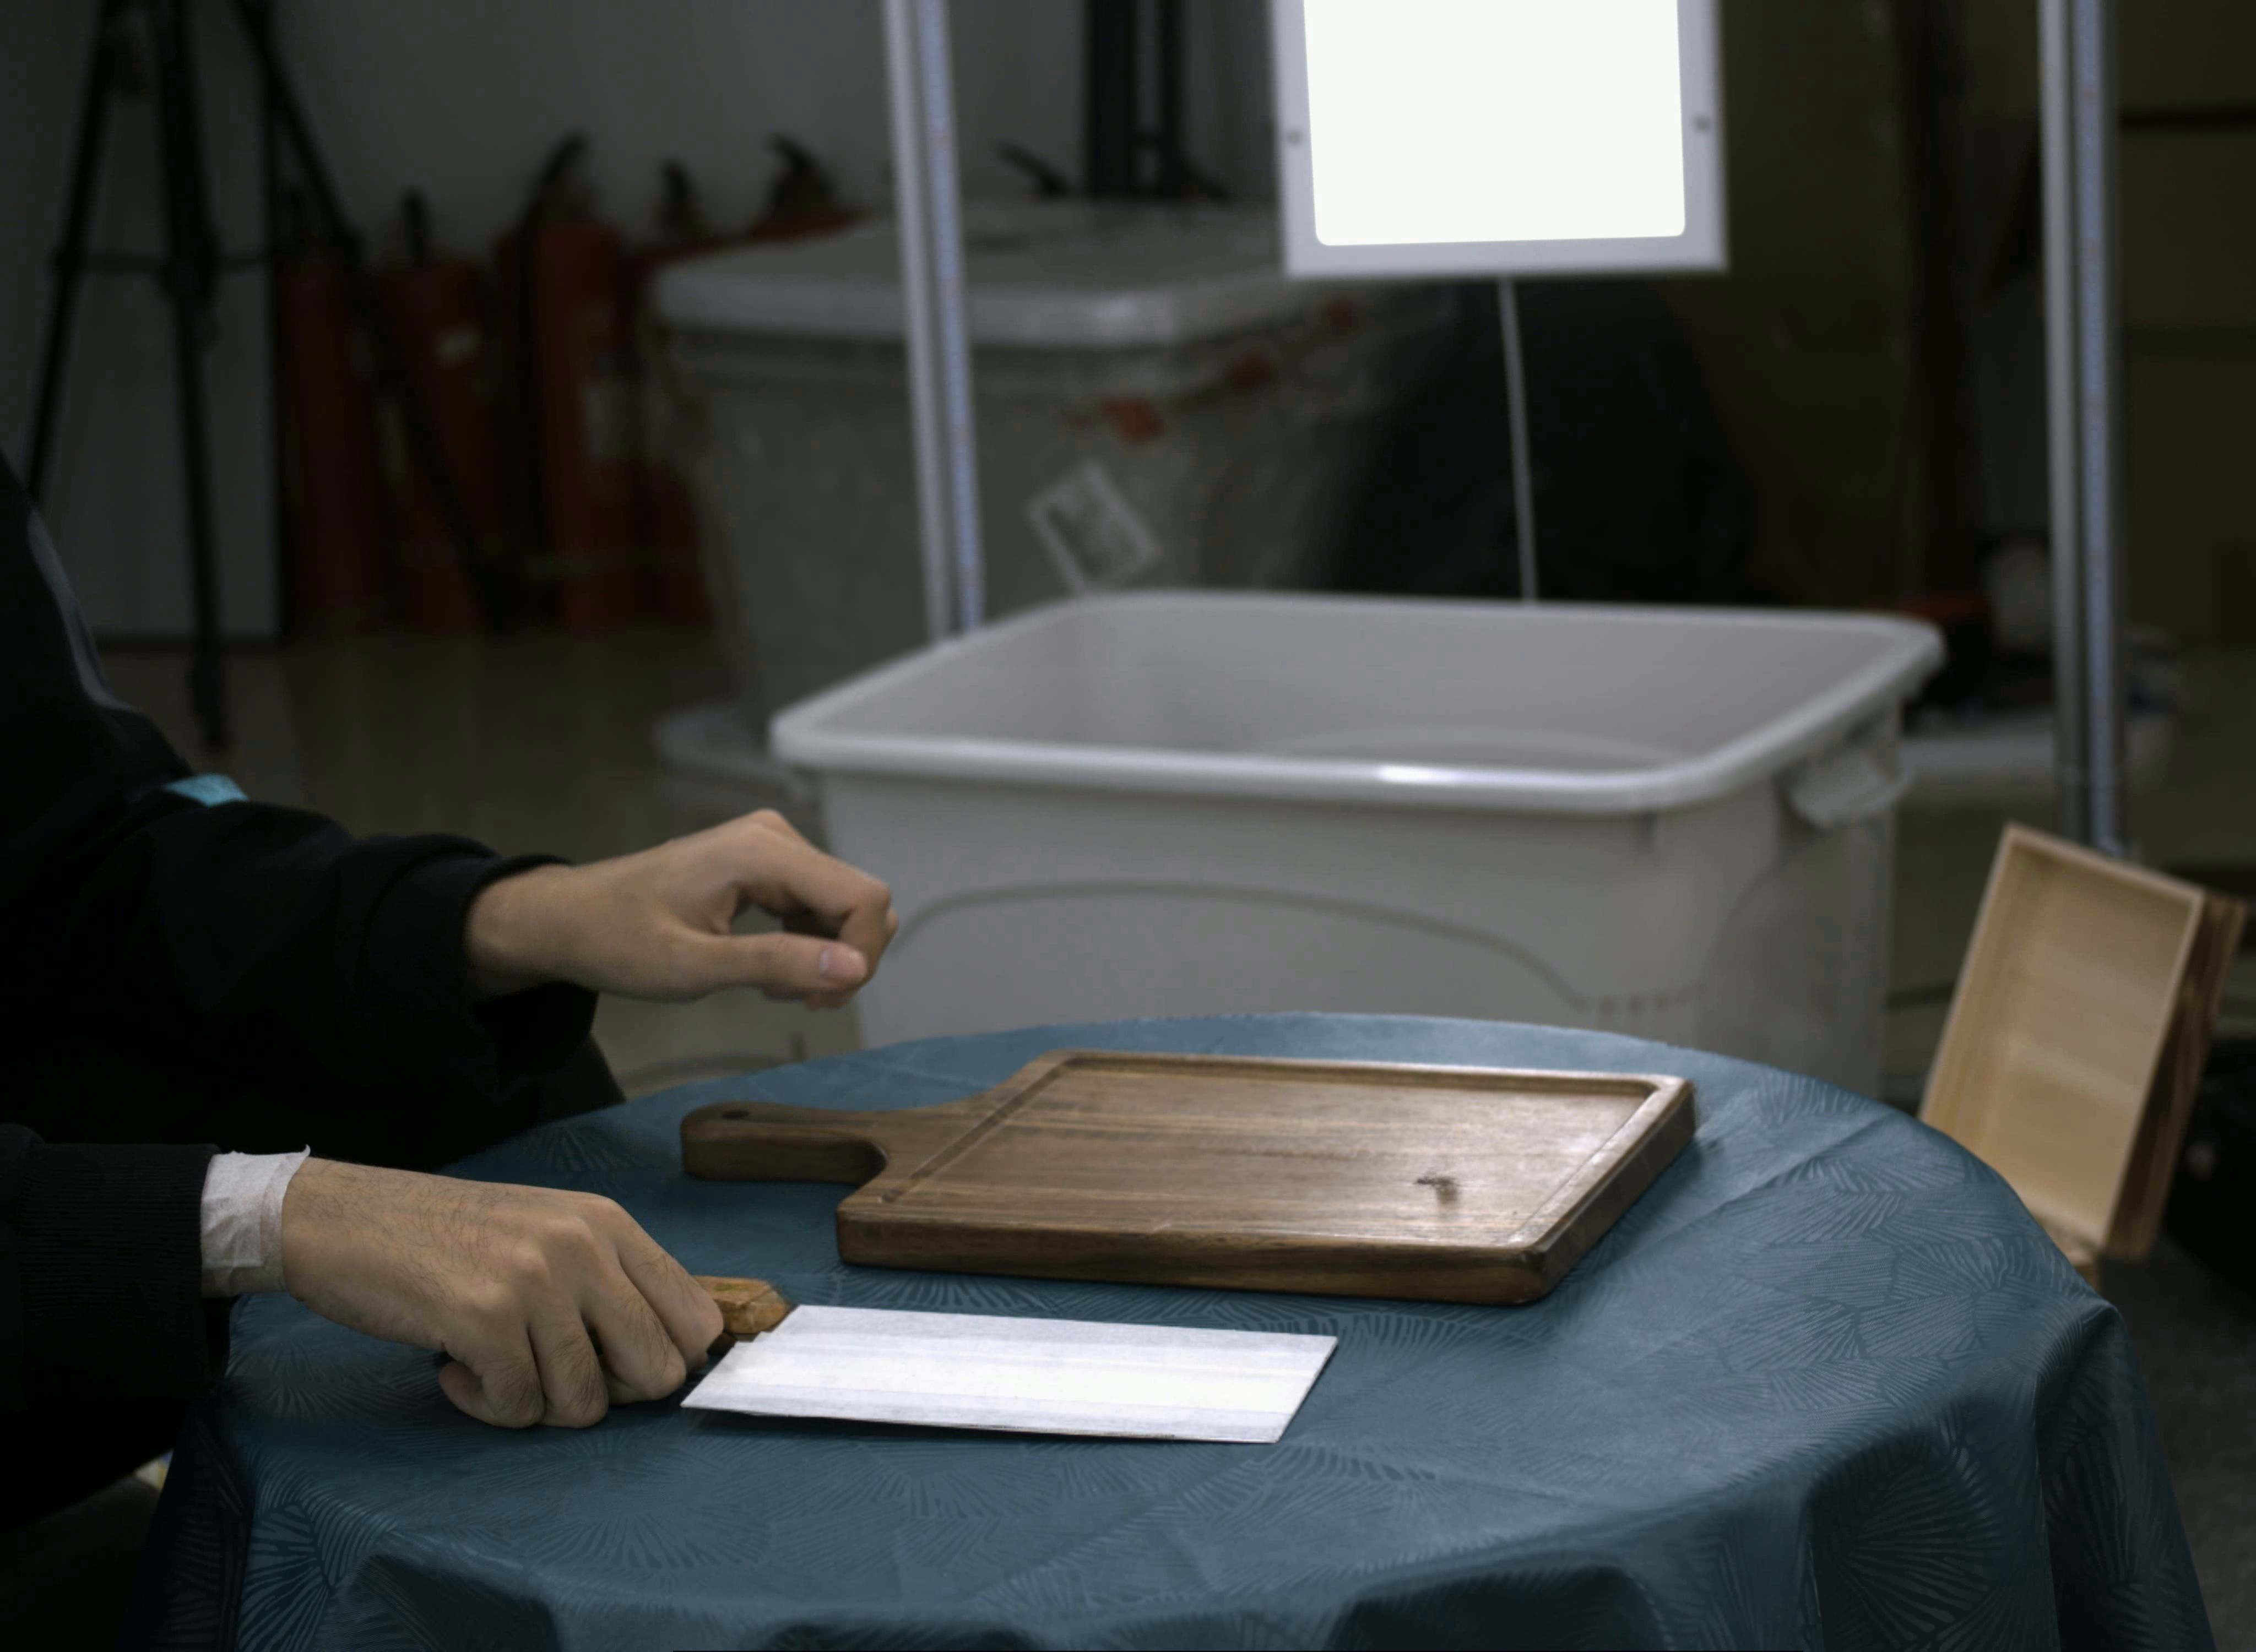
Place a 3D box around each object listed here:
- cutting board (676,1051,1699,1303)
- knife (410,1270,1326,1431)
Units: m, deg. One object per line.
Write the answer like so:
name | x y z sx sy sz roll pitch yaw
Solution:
cutting board | 0.006 0.116 1.895 0.357 0.023 0.197 1 15 24
knife | -0.091 0.167 1.731 0.309 0.021 0.091 2 16 17
